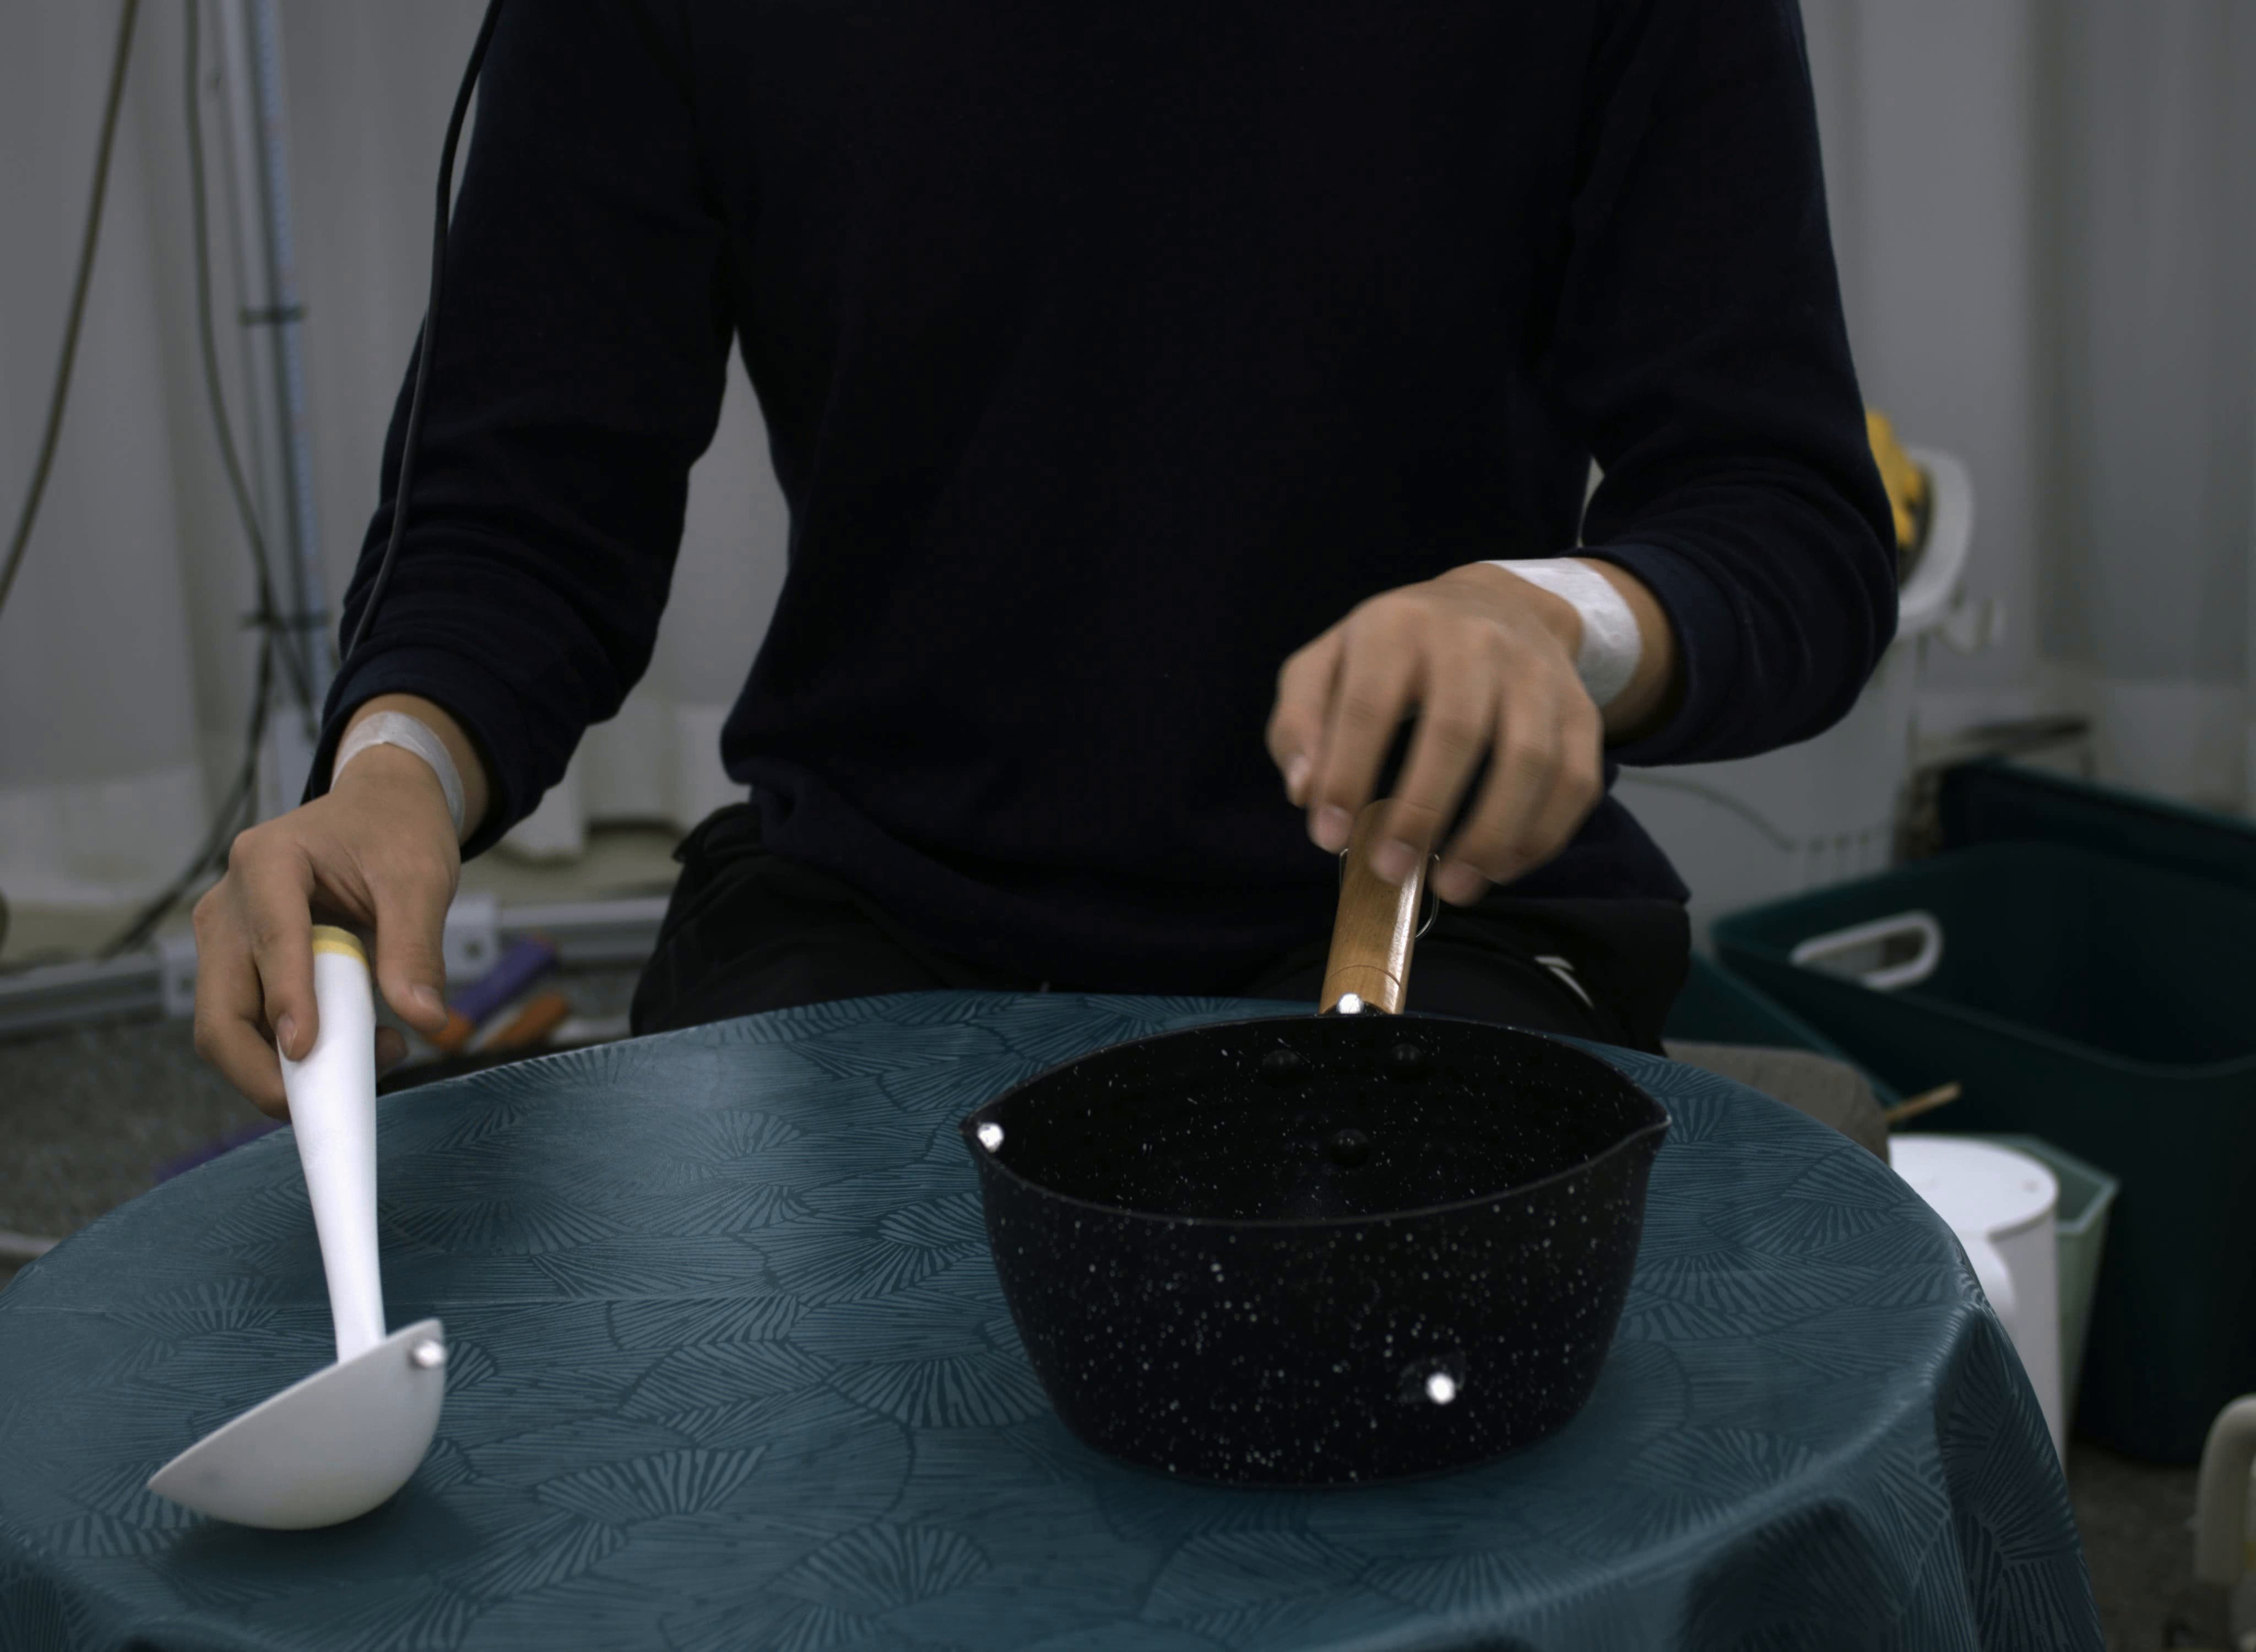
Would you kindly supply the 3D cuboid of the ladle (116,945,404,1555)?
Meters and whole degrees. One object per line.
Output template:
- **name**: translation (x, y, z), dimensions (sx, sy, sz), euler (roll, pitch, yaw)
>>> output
- **ladle**: translation (-0.243, 0.110, 1.571), dimensions (0.090, 0.069, 0.297), euler (-40, 27, 14)

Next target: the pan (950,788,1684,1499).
- **pan**: translation (0.062, 0.087, 1.598), dimensions (0.207, 0.108, 0.345), euler (-2, 16, 8)
